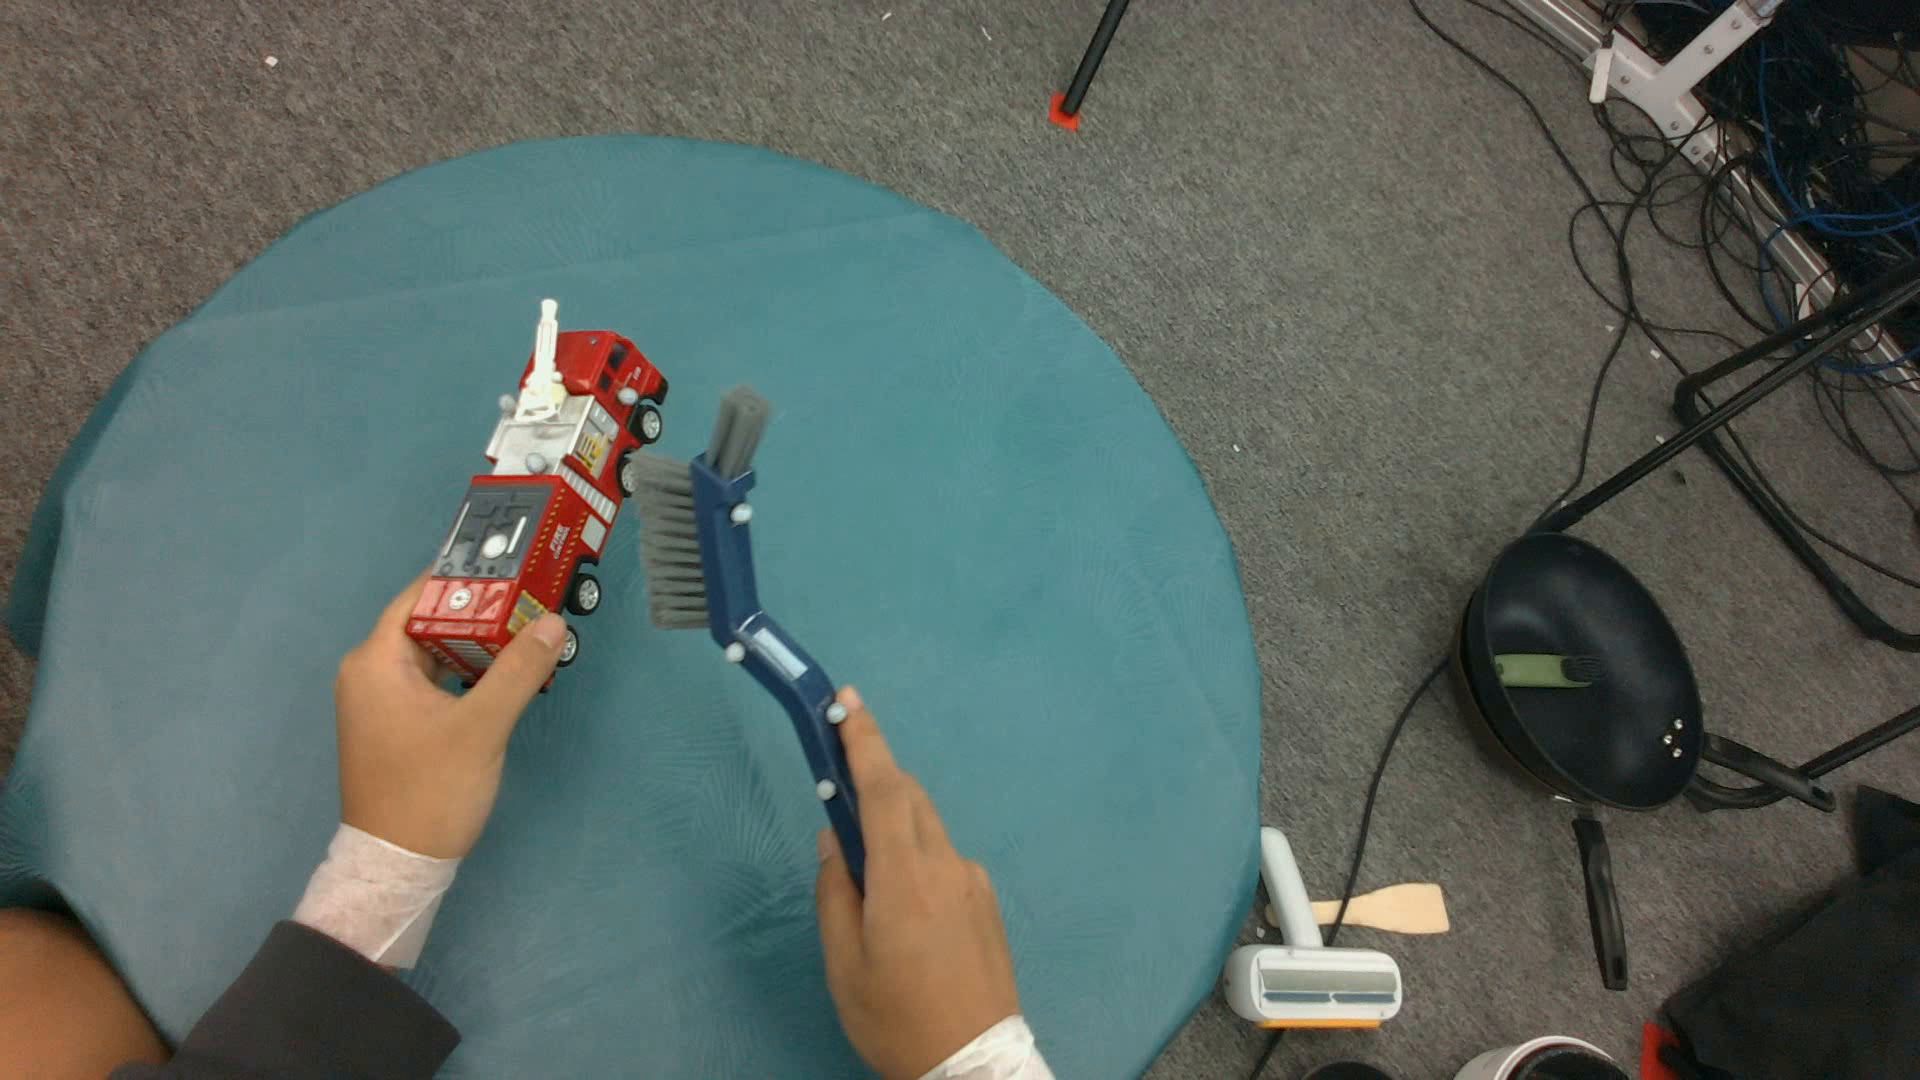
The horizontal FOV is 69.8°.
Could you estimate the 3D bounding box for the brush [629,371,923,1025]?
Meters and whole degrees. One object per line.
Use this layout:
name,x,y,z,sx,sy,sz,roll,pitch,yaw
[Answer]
brush,-0.059,0.071,0.569,0.273,0.095,0.033,61,20,-8

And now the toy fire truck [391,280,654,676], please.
toy fire truck,-0.185,-0.026,0.595,0.054,0.070,0.168,1,60,19
